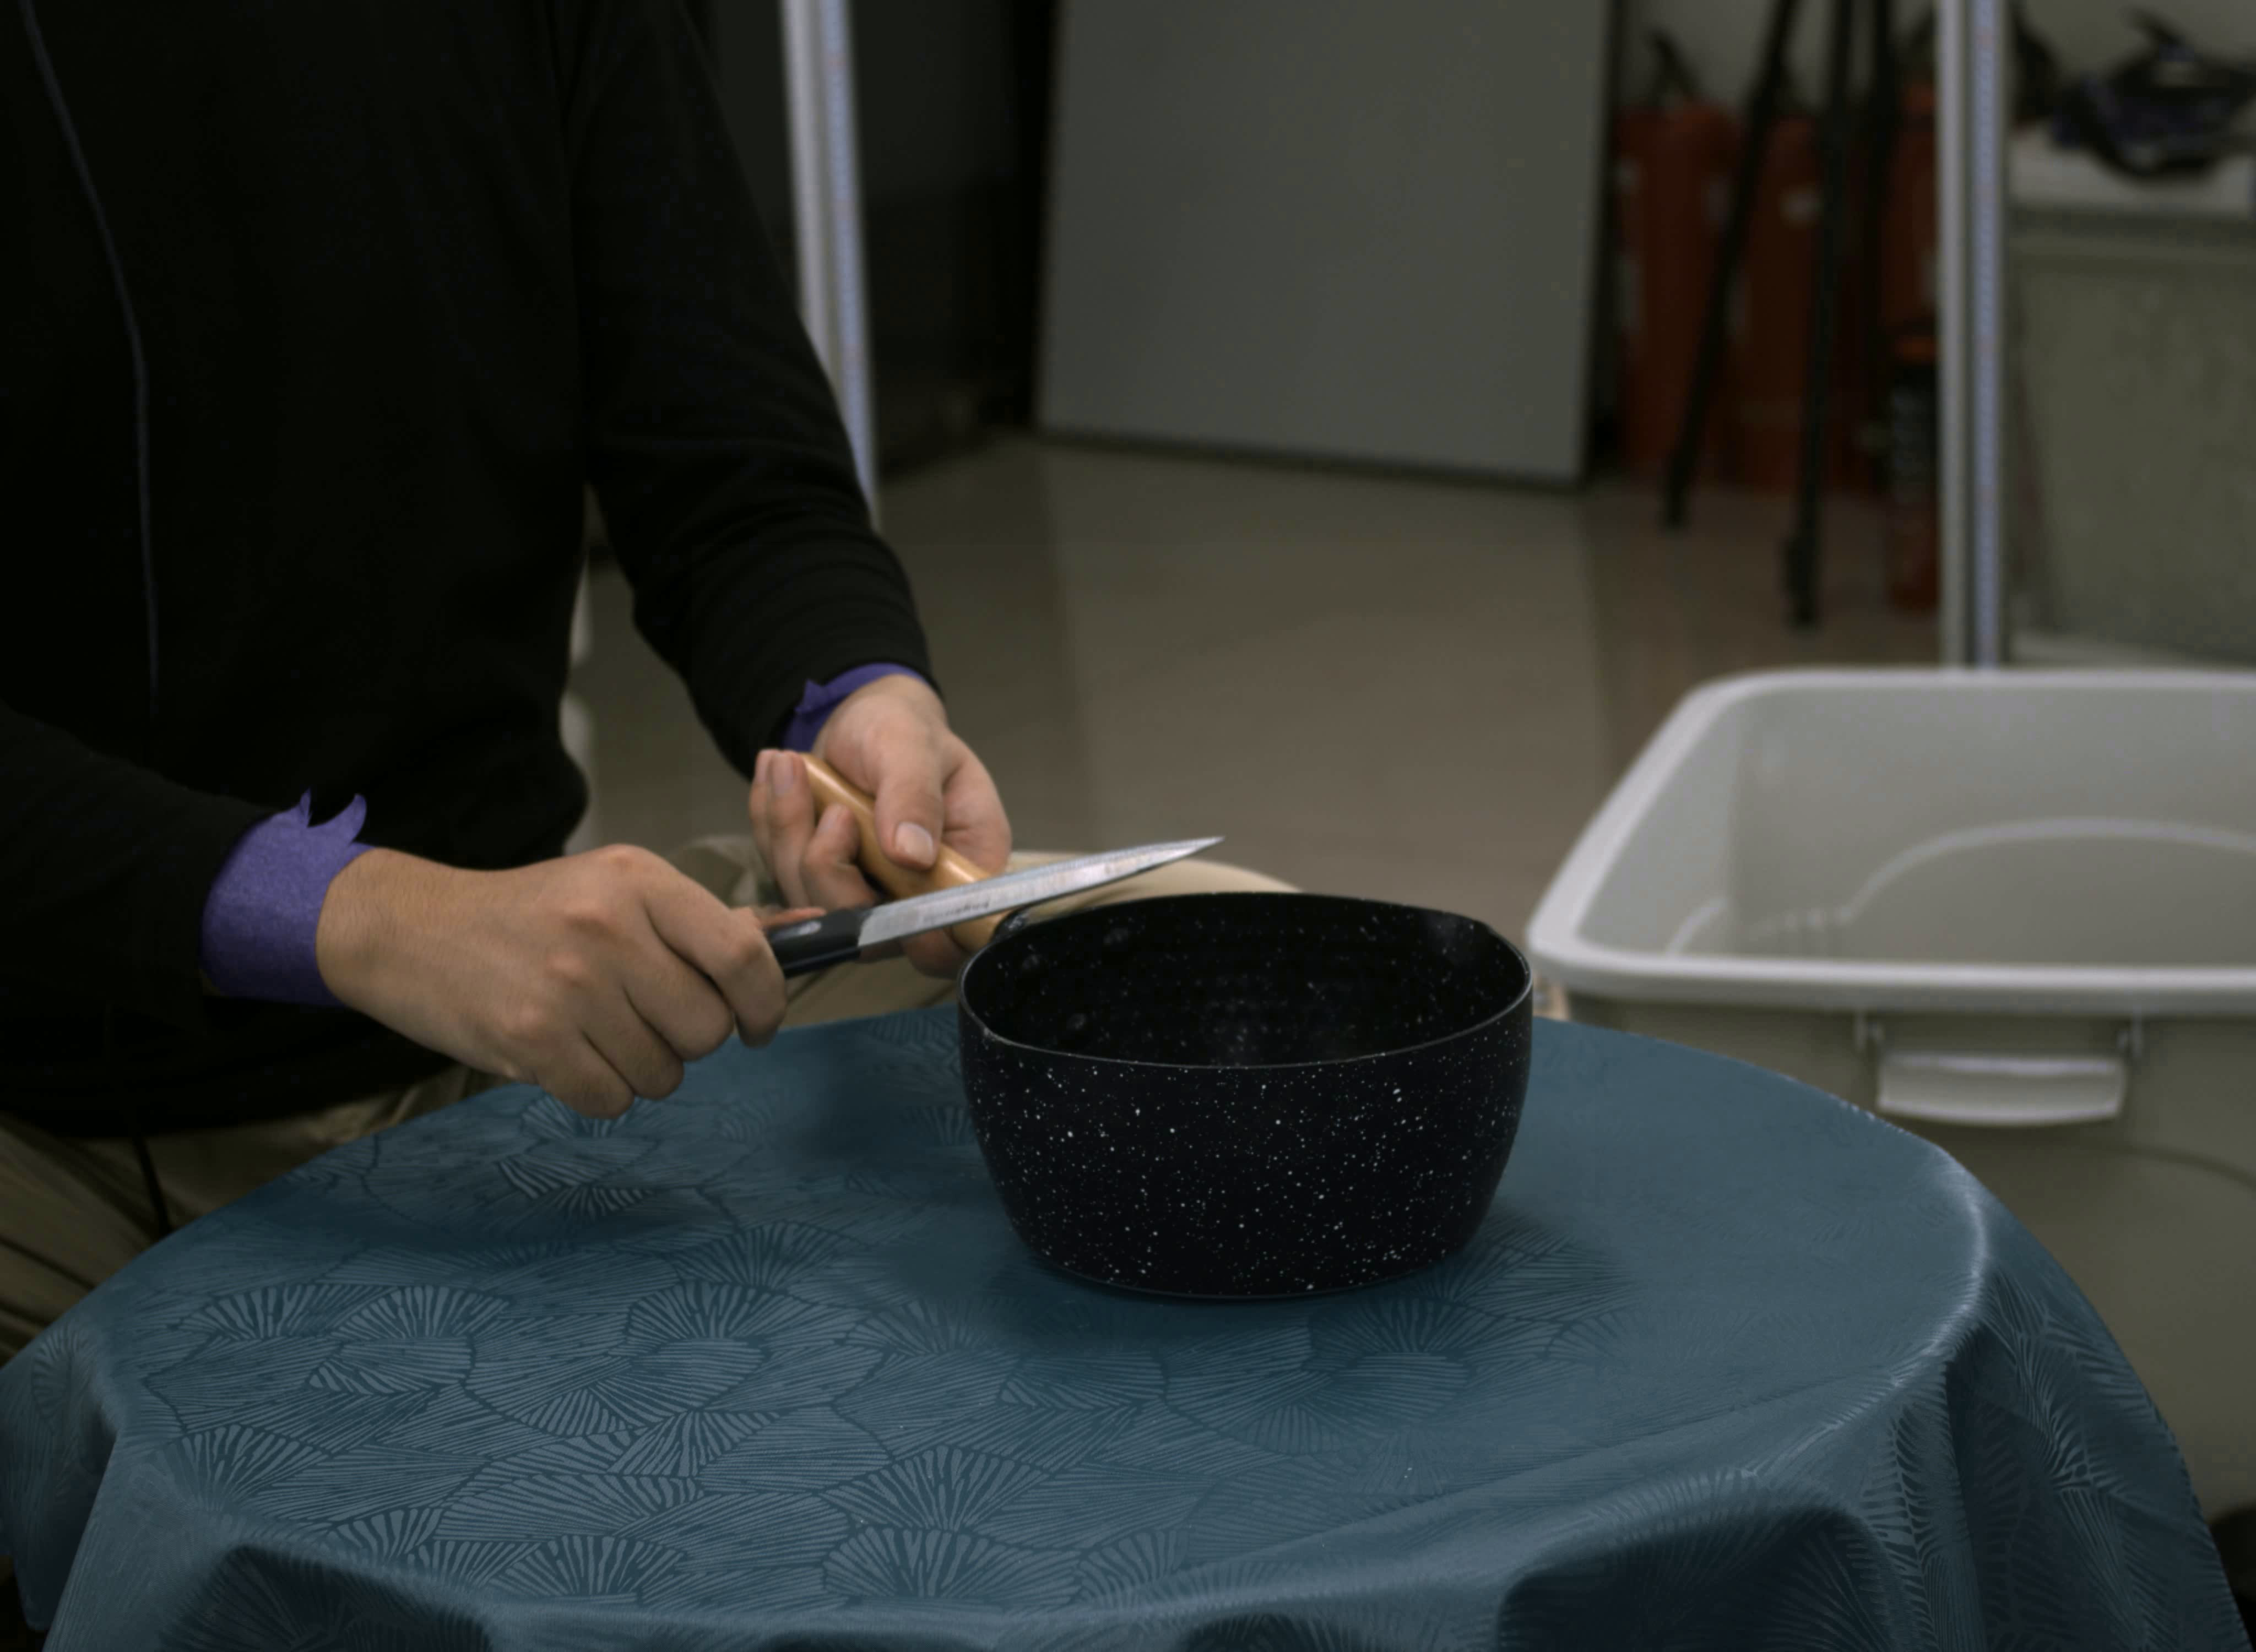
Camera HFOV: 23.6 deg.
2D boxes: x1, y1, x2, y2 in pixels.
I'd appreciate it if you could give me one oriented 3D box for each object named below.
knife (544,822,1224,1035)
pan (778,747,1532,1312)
[{"bbox_3d":[-0.081,0.032,1.761,0.237,0.016,0.024,-16,30,11],"label":"knife"},{"bbox_3d":[-0.012,0.061,1.772,0.203,0.109,0.346,-14,21,-36],"label":"pan"}]
